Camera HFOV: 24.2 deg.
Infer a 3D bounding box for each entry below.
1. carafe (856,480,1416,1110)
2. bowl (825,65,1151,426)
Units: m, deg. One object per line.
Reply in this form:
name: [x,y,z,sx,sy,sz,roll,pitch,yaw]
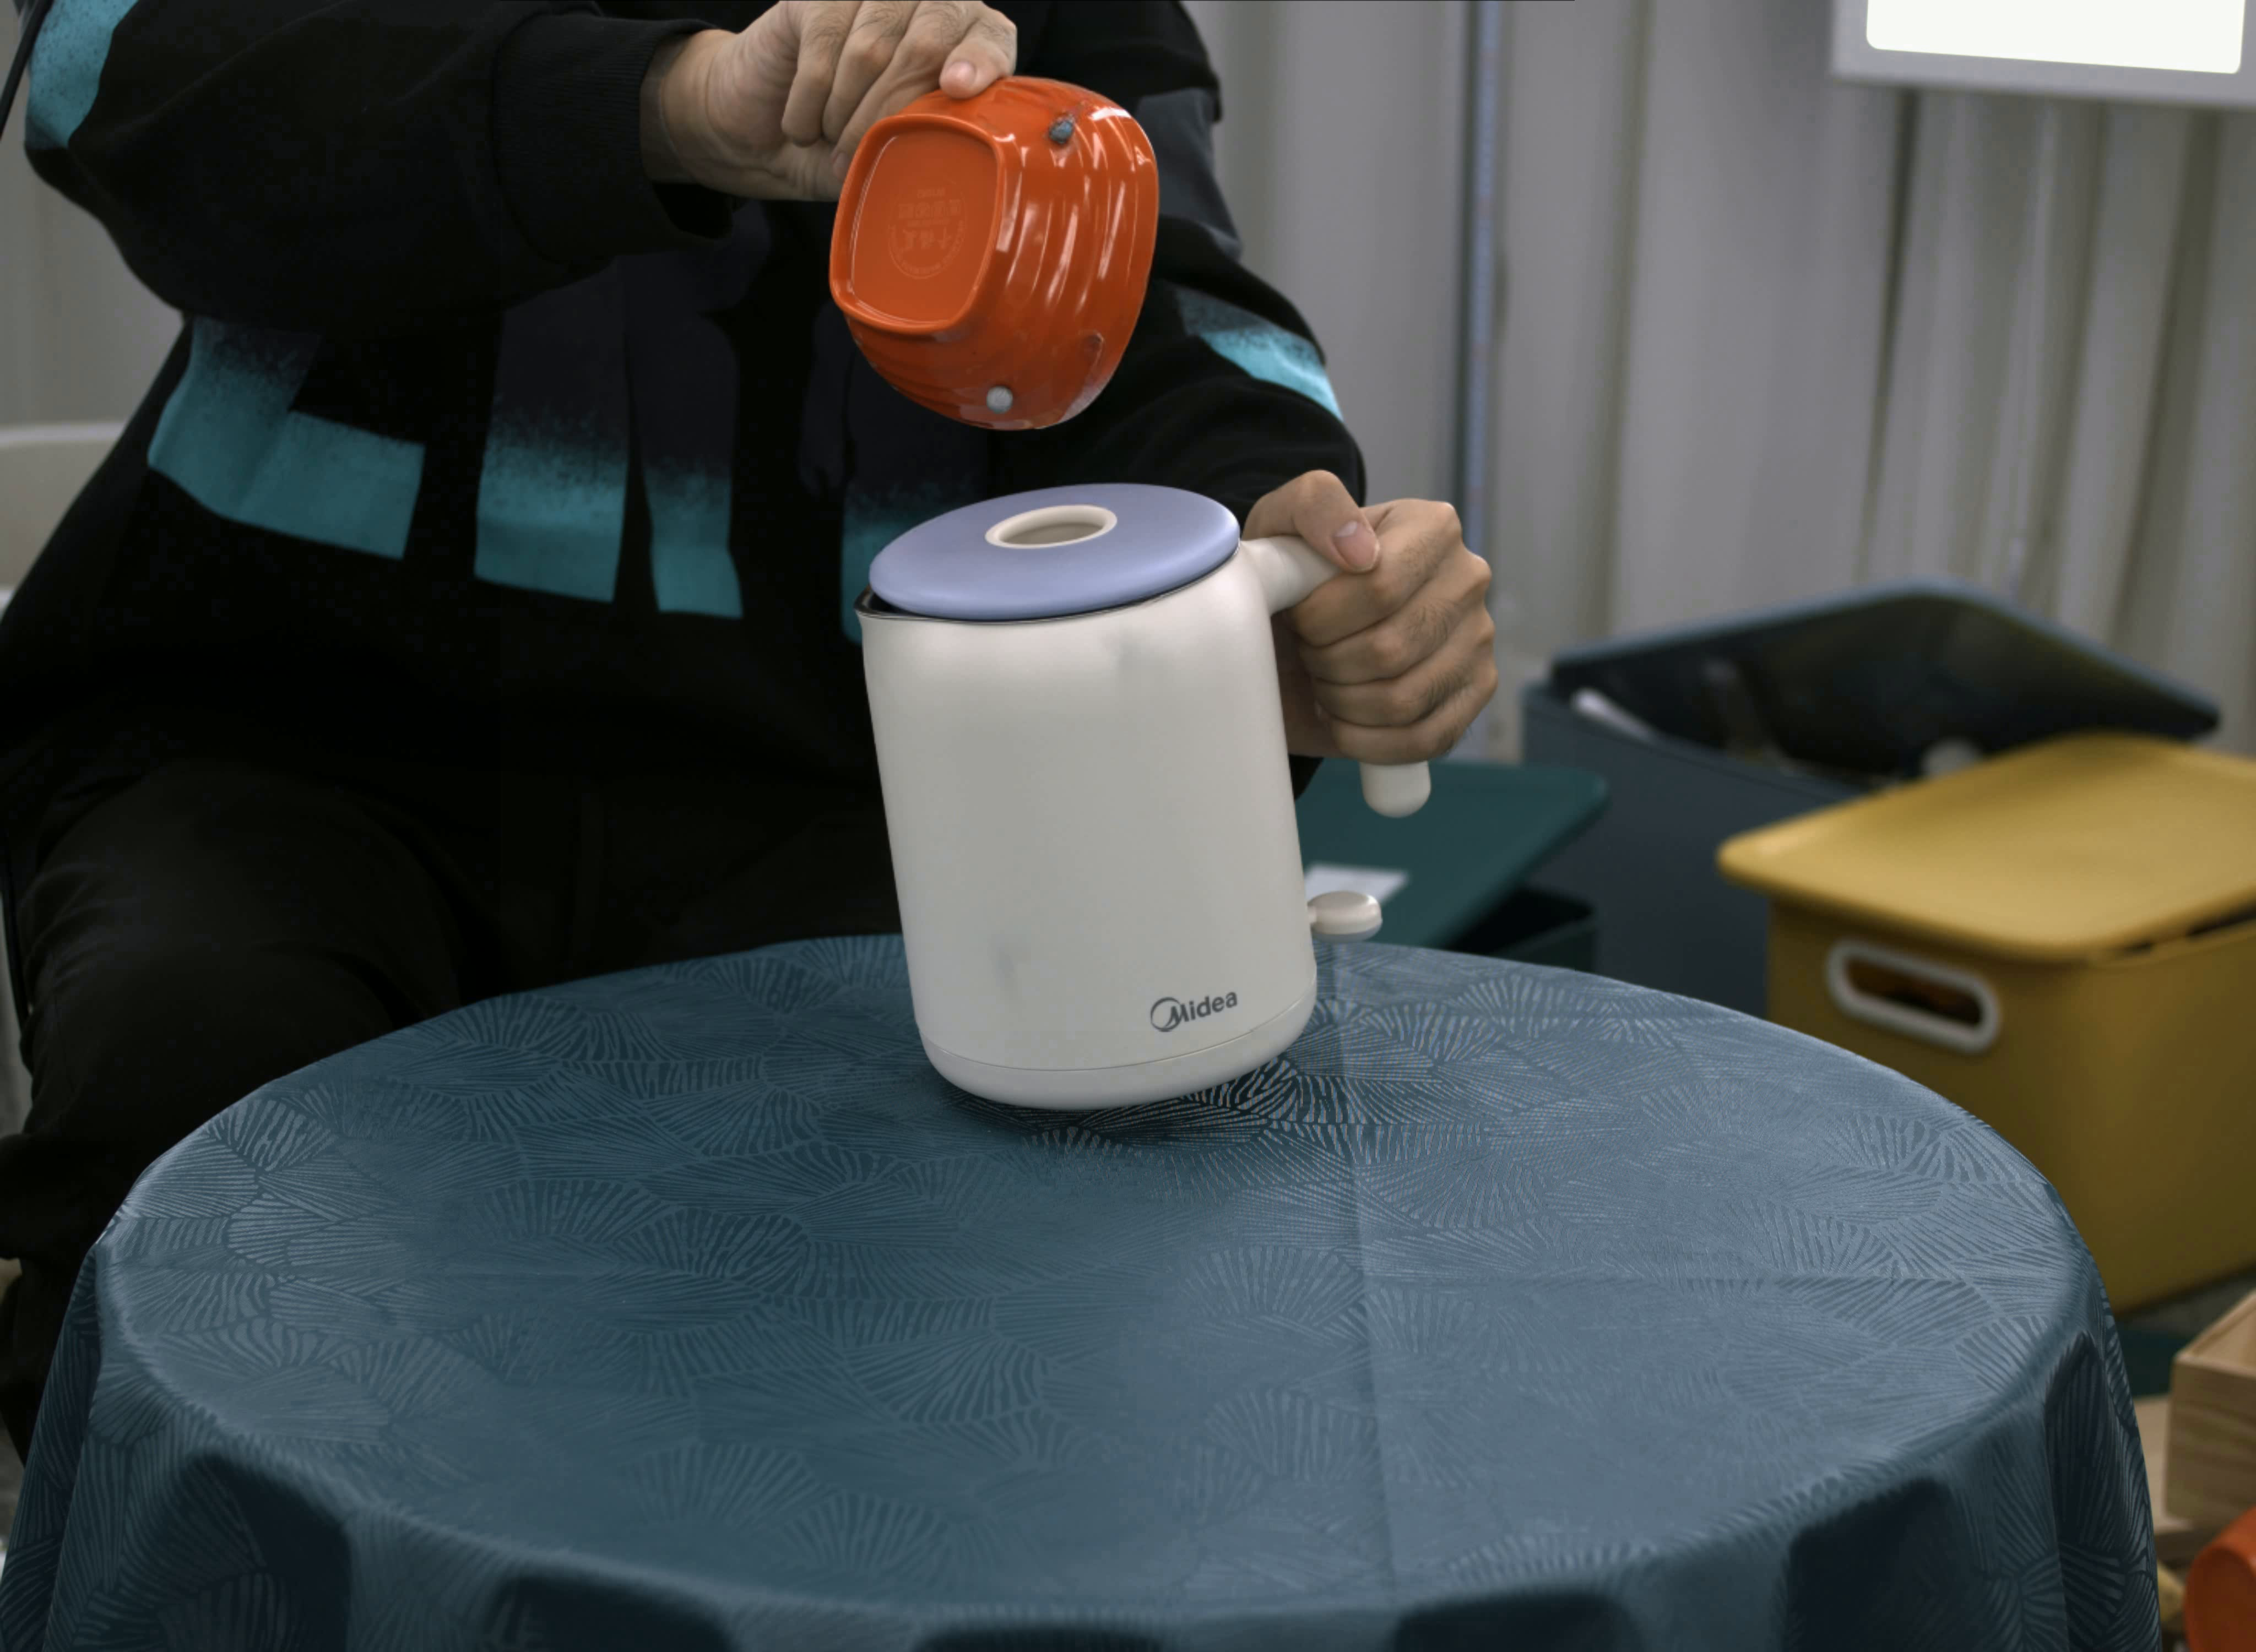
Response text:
carafe: [0.008,-0.016,1.693,0.191,0.184,0.130,-14,22,-23]
bowl: [-0.051,-0.181,1.607,0.117,0.119,0.052,15,6,42]
